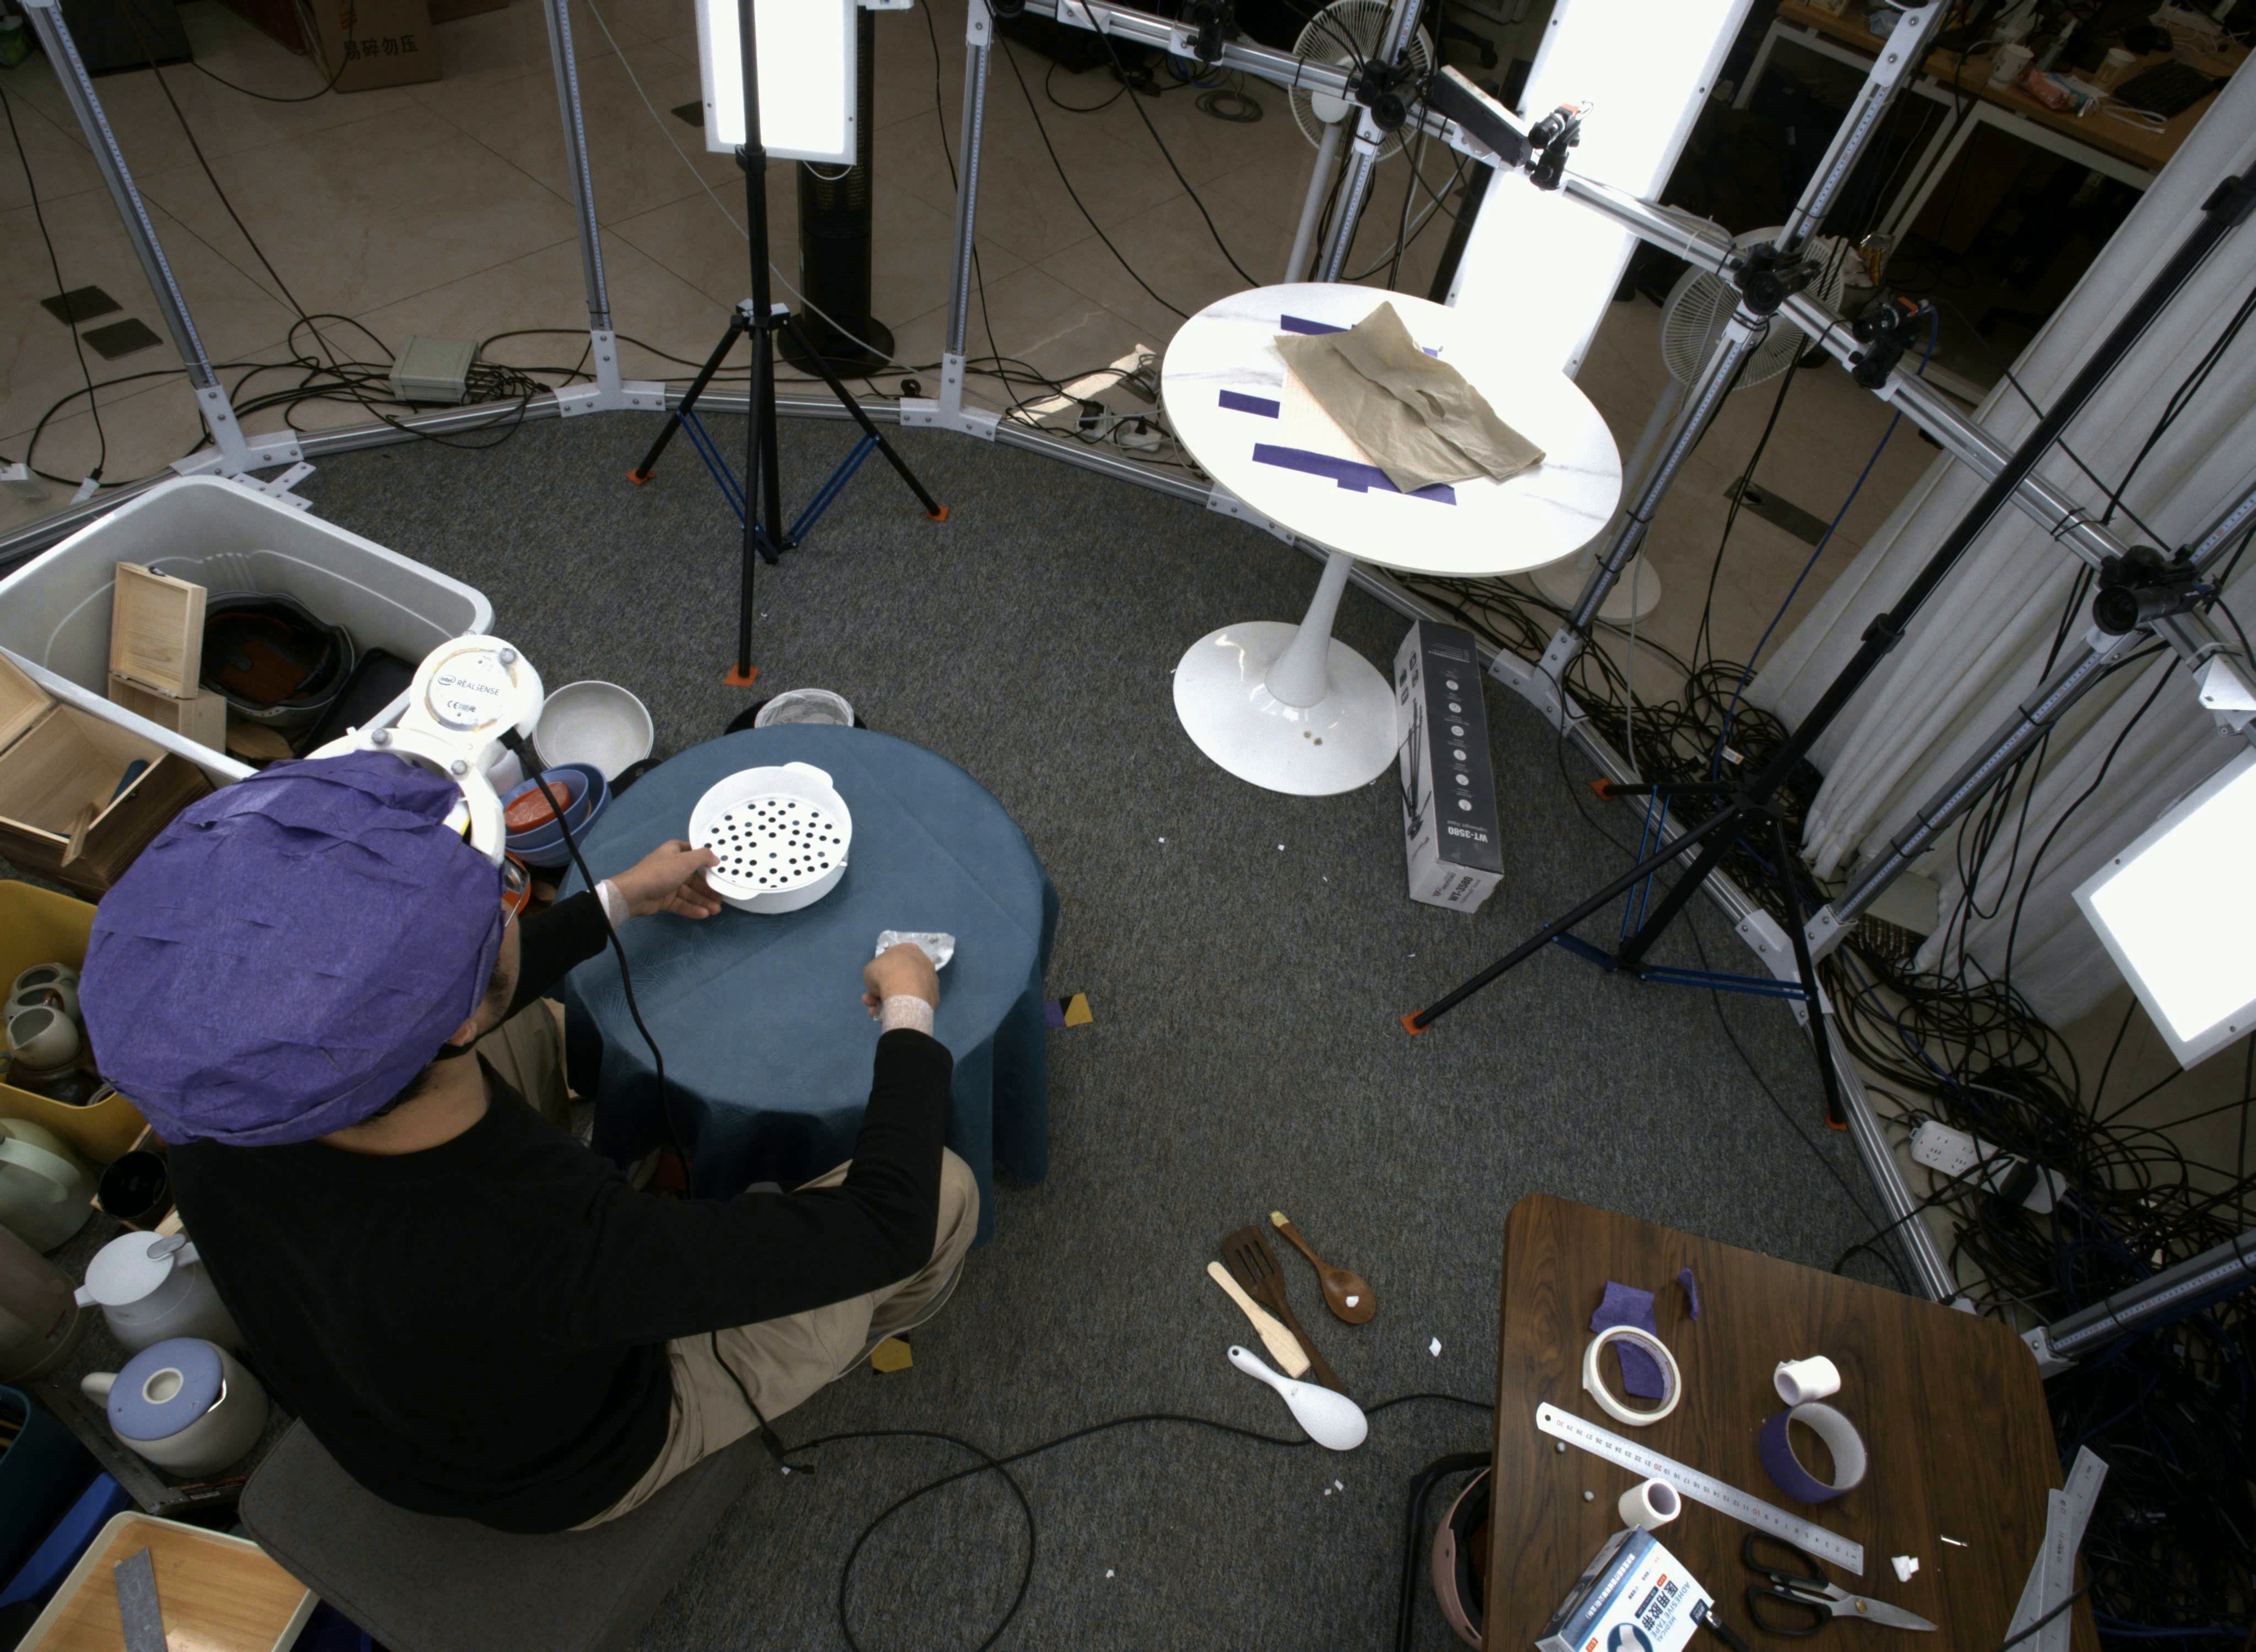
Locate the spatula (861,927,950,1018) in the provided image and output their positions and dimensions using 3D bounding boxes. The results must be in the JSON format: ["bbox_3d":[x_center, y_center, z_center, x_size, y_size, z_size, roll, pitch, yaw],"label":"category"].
[{"bbox_3d":[-0.265,0.160,1.482,0.098,0.362,0.045,5,93,-4],"label":"spatula"}]

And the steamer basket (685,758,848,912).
[{"bbox_3d":[-0.459,0.015,1.653,0.199,0.070,0.228,21,52,3],"label":"steamer basket"}]
